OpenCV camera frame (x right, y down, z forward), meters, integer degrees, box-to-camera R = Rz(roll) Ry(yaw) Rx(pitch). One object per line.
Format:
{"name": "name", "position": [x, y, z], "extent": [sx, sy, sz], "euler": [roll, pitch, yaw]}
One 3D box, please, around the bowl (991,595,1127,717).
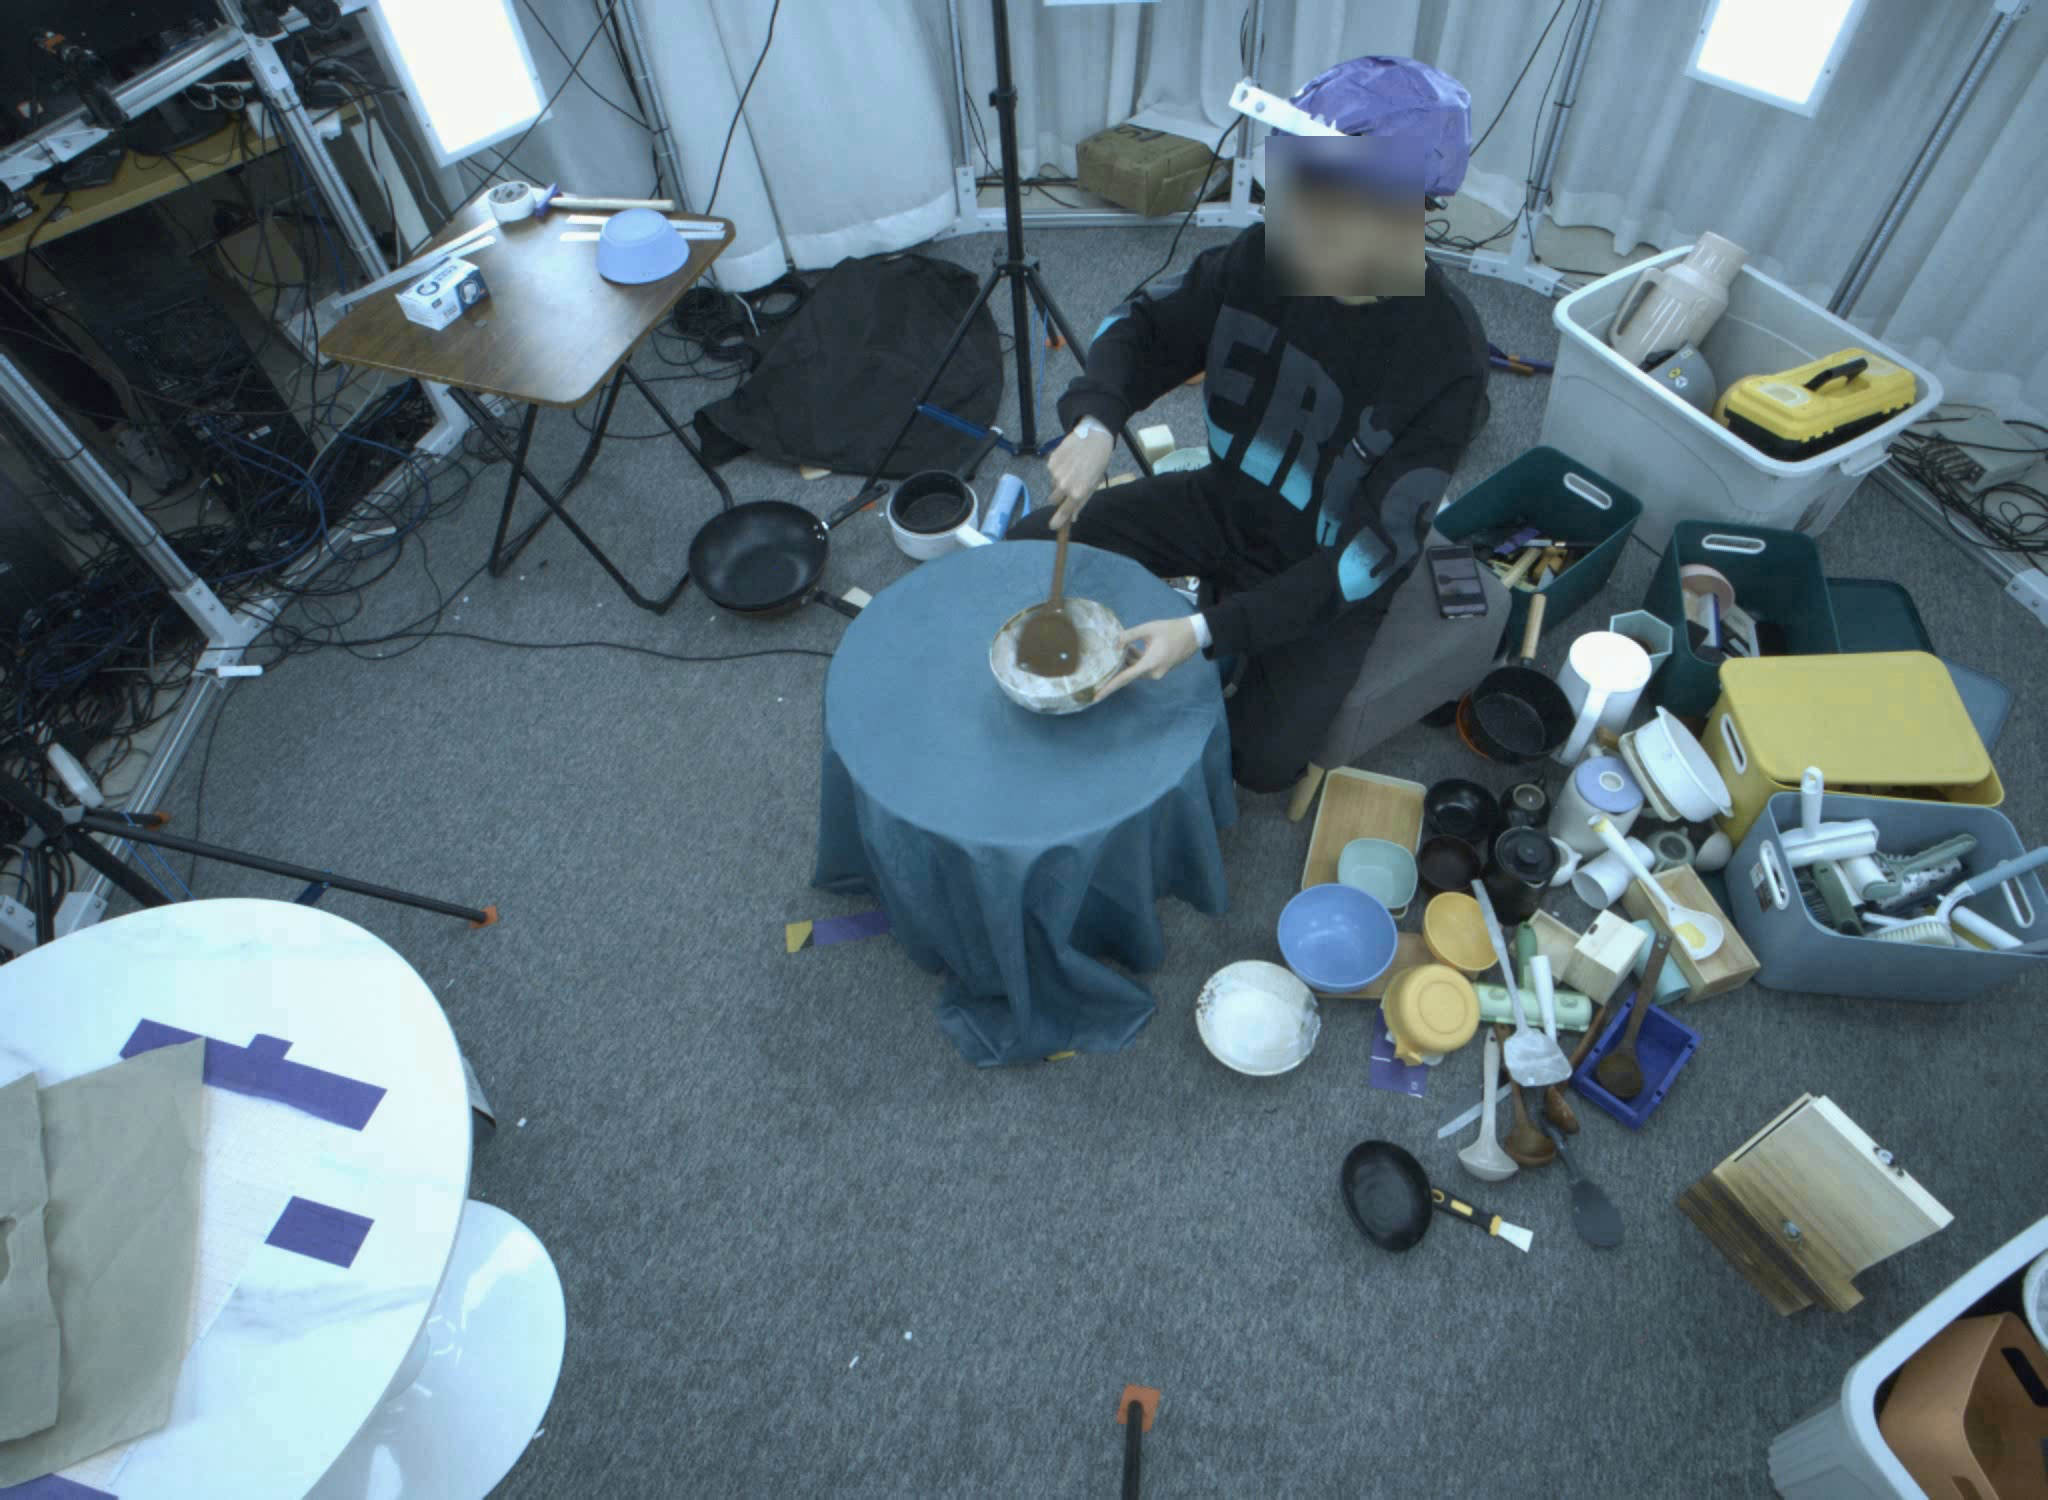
{"name": "bowl", "position": [0.063, -0.125, 1.813], "extent": [0.213, 0.096, 0.212], "euler": [-9, 53, 13]}

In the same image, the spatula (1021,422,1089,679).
{"name": "spatula", "position": [0.060, -0.293, 1.813], "extent": [0.096, 0.387, 0.015], "euler": [5, 18, -2]}
